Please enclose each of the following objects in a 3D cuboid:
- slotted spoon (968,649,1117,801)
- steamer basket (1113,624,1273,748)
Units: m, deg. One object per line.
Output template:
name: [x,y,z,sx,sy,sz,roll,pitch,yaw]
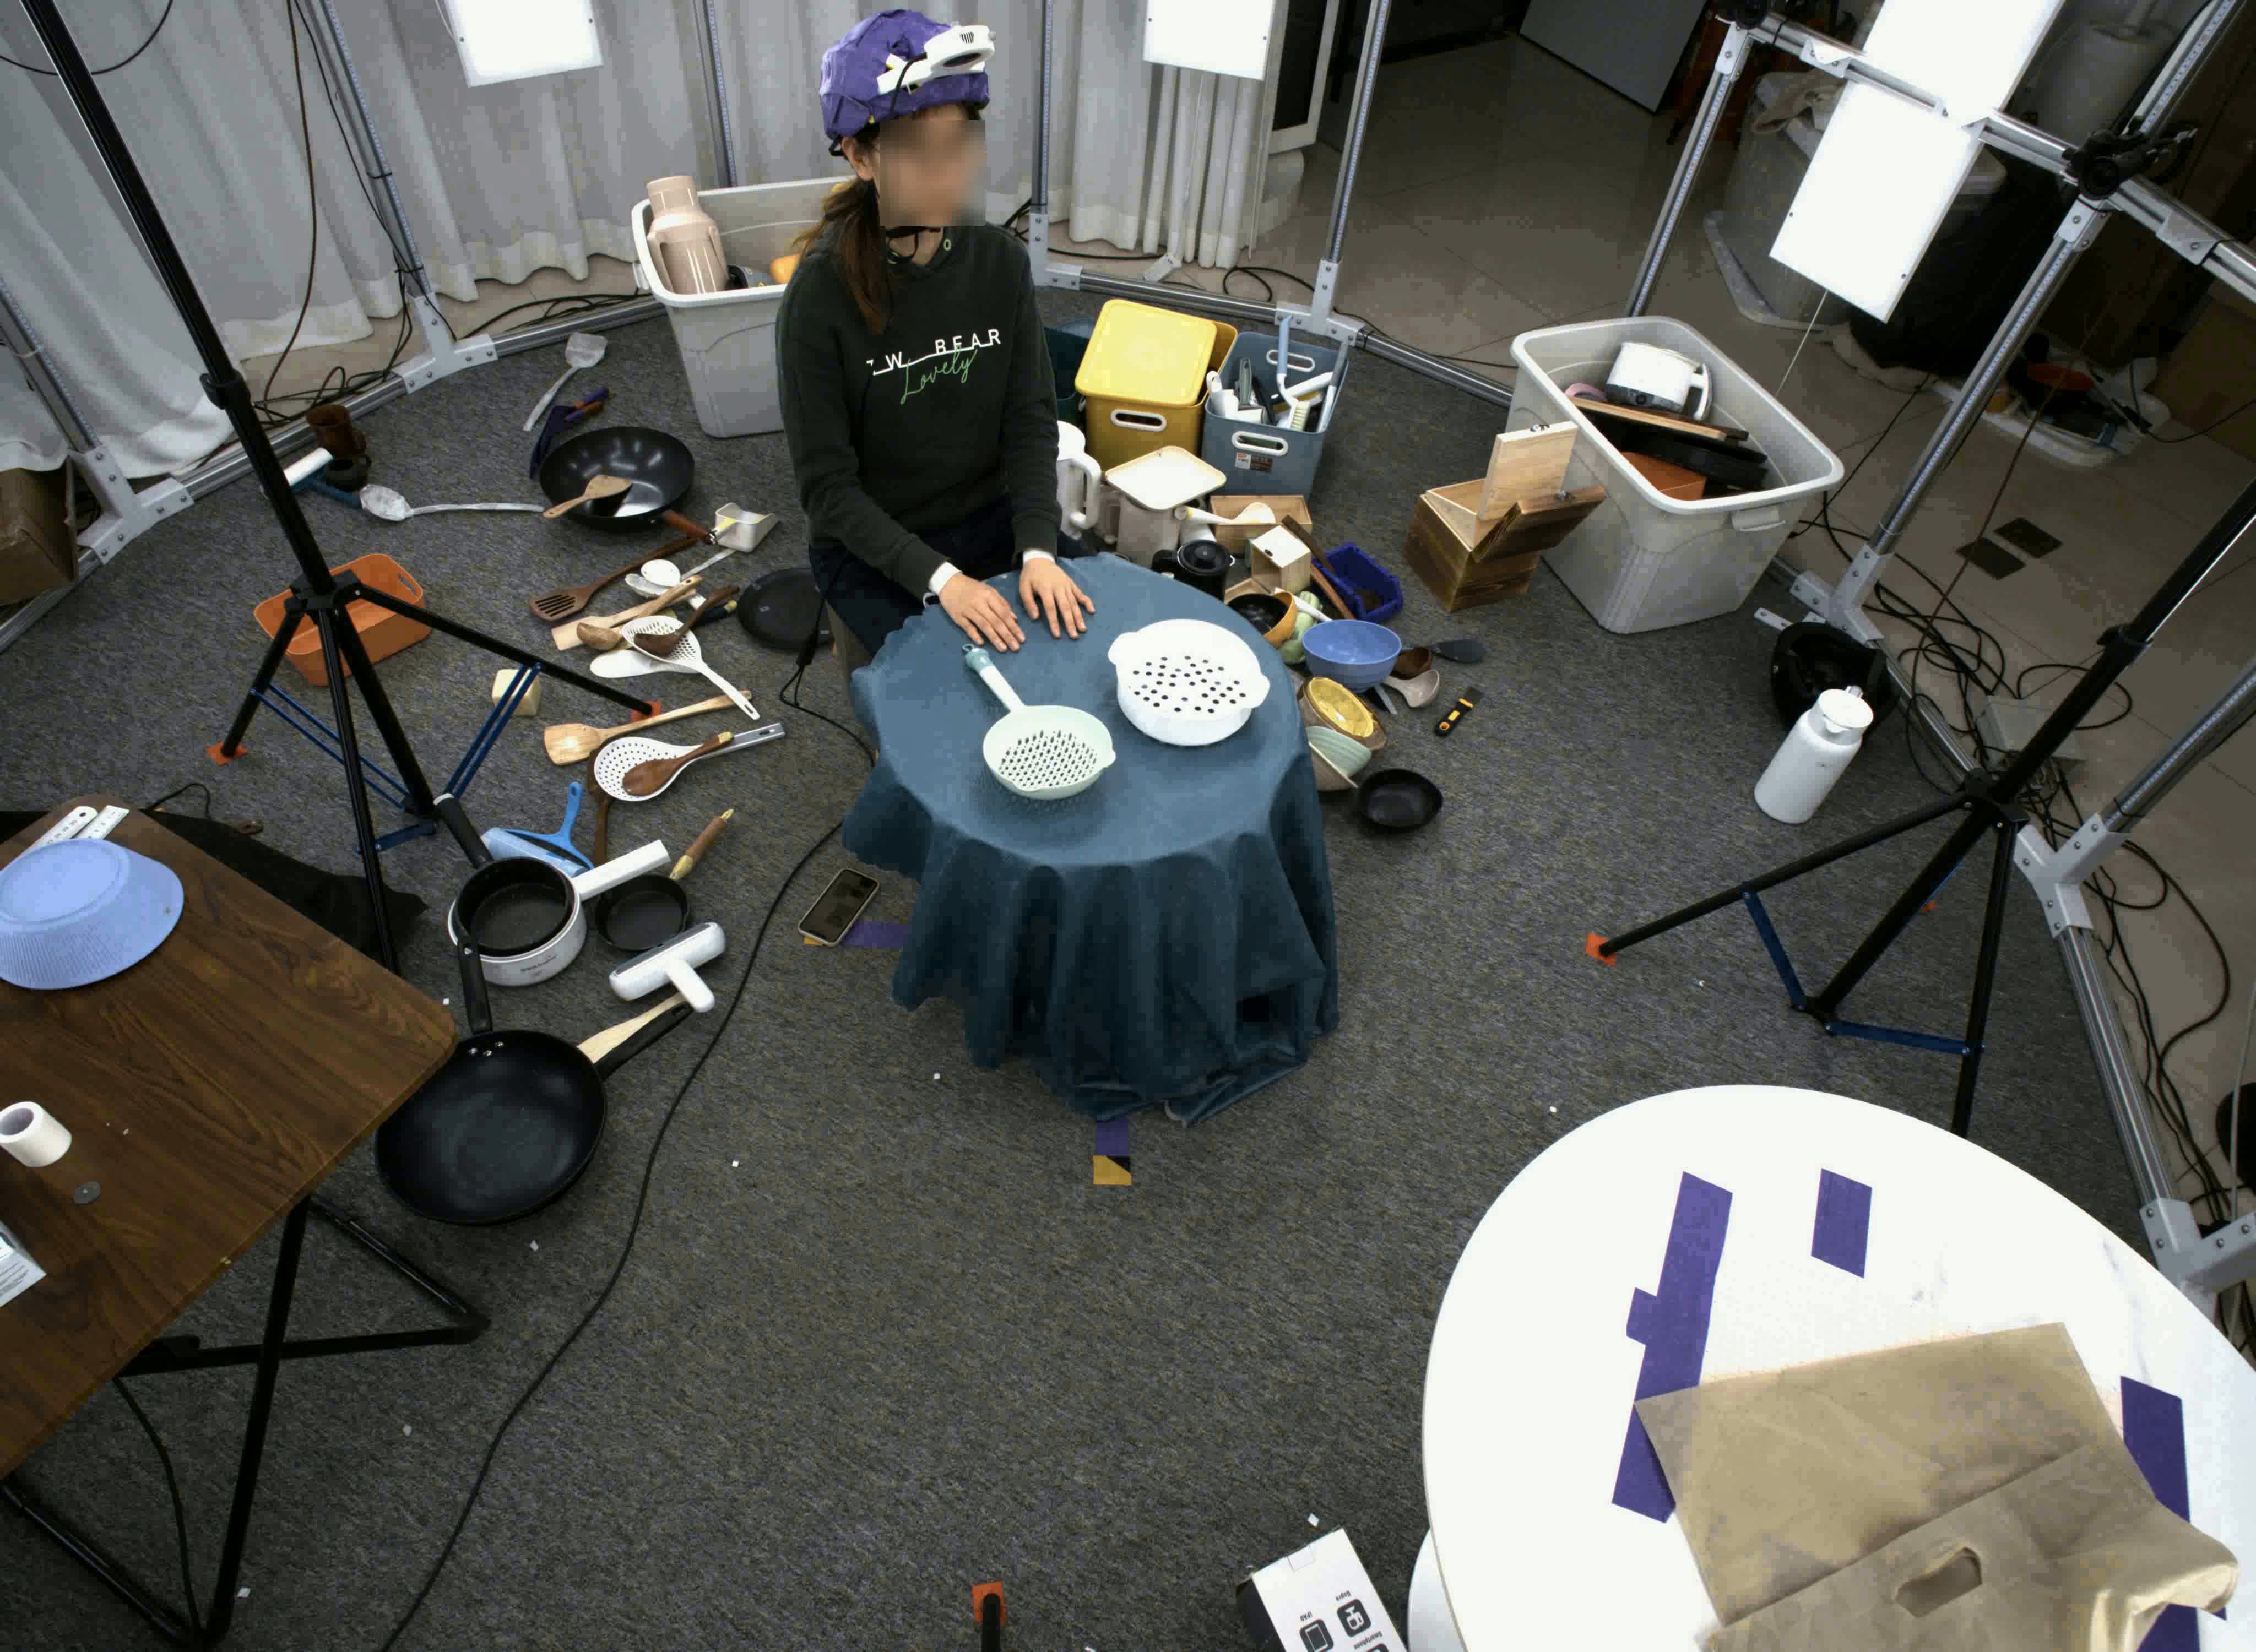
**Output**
slotted spoon: [-0.149,-0.155,1.767,0.169,0.073,0.367,-19,52,-20]
steamer basket: [0.088,-0.198,1.820,0.231,0.067,0.206,19,49,12]
